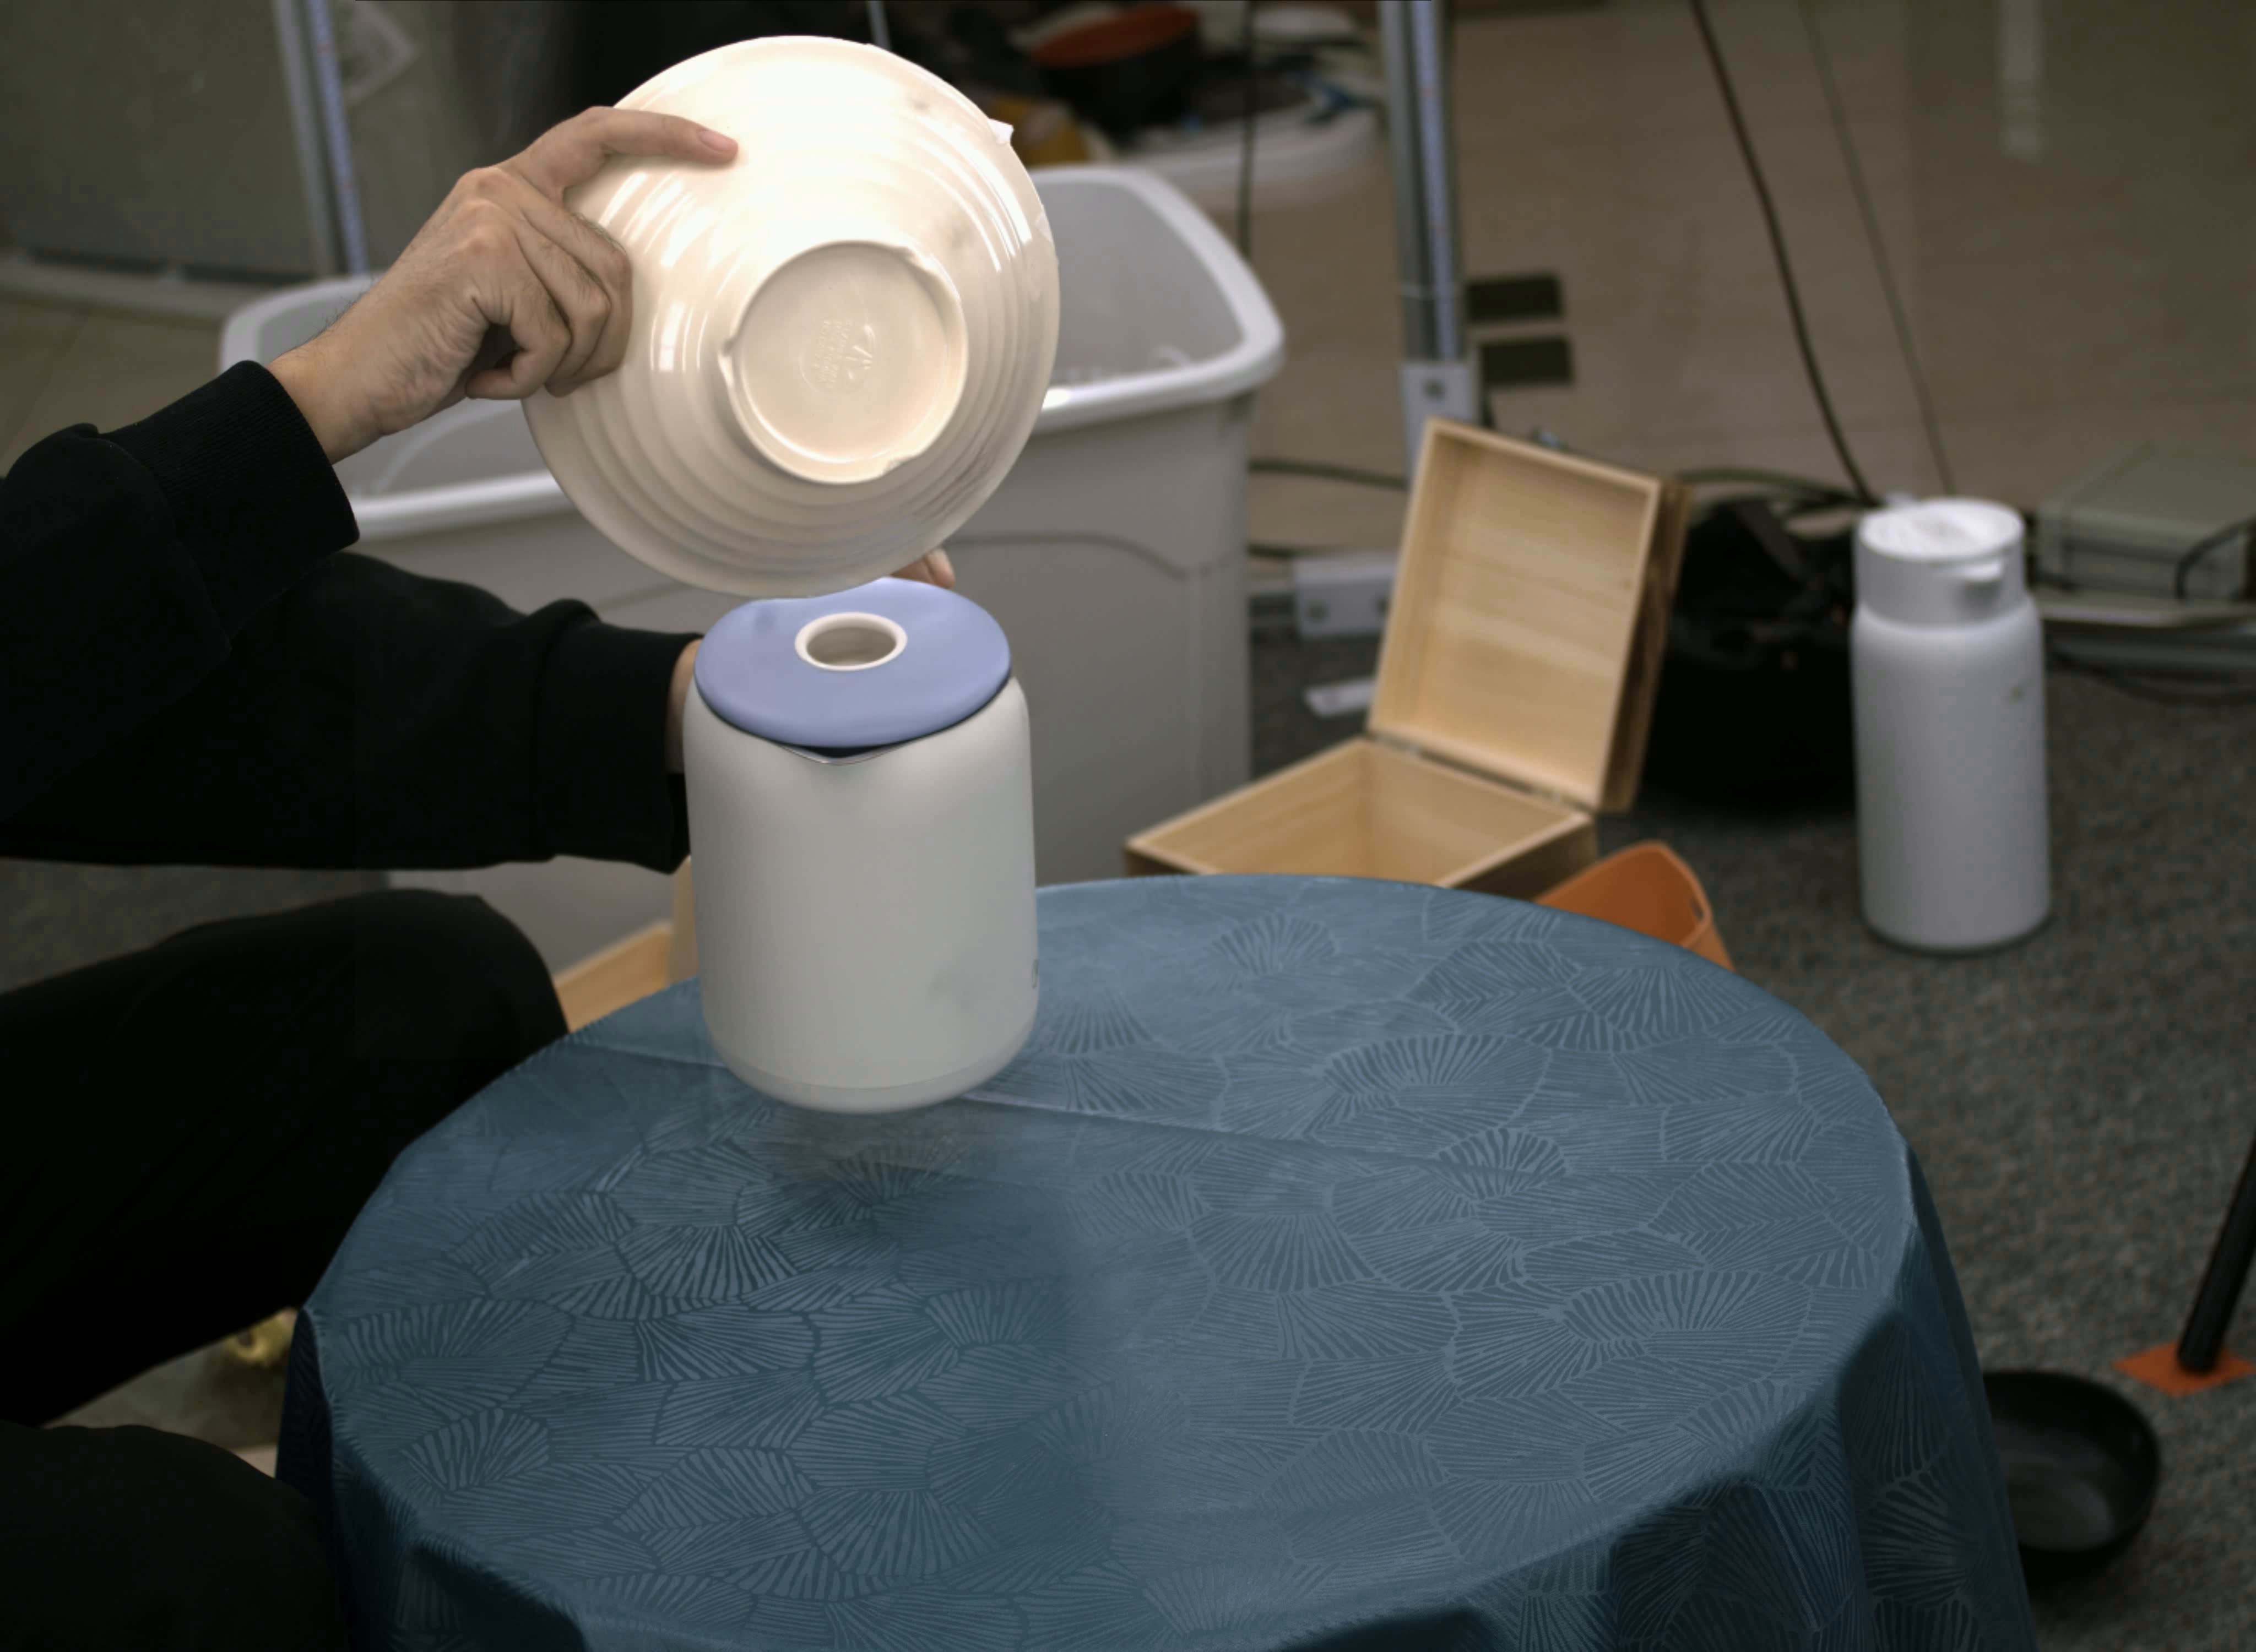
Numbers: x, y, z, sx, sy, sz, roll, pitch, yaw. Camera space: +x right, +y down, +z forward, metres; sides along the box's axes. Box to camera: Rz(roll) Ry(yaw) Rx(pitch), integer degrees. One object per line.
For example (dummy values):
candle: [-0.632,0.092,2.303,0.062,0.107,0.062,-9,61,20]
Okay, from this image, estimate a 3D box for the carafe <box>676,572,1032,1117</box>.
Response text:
carafe: [-0.103,-0.006,2.167,0.132,0.186,0.188,0,31,0]

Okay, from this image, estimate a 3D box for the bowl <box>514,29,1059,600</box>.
bowl: [-0.106,-0.171,1.965,0.203,0.207,0.077,-15,21,-19]
